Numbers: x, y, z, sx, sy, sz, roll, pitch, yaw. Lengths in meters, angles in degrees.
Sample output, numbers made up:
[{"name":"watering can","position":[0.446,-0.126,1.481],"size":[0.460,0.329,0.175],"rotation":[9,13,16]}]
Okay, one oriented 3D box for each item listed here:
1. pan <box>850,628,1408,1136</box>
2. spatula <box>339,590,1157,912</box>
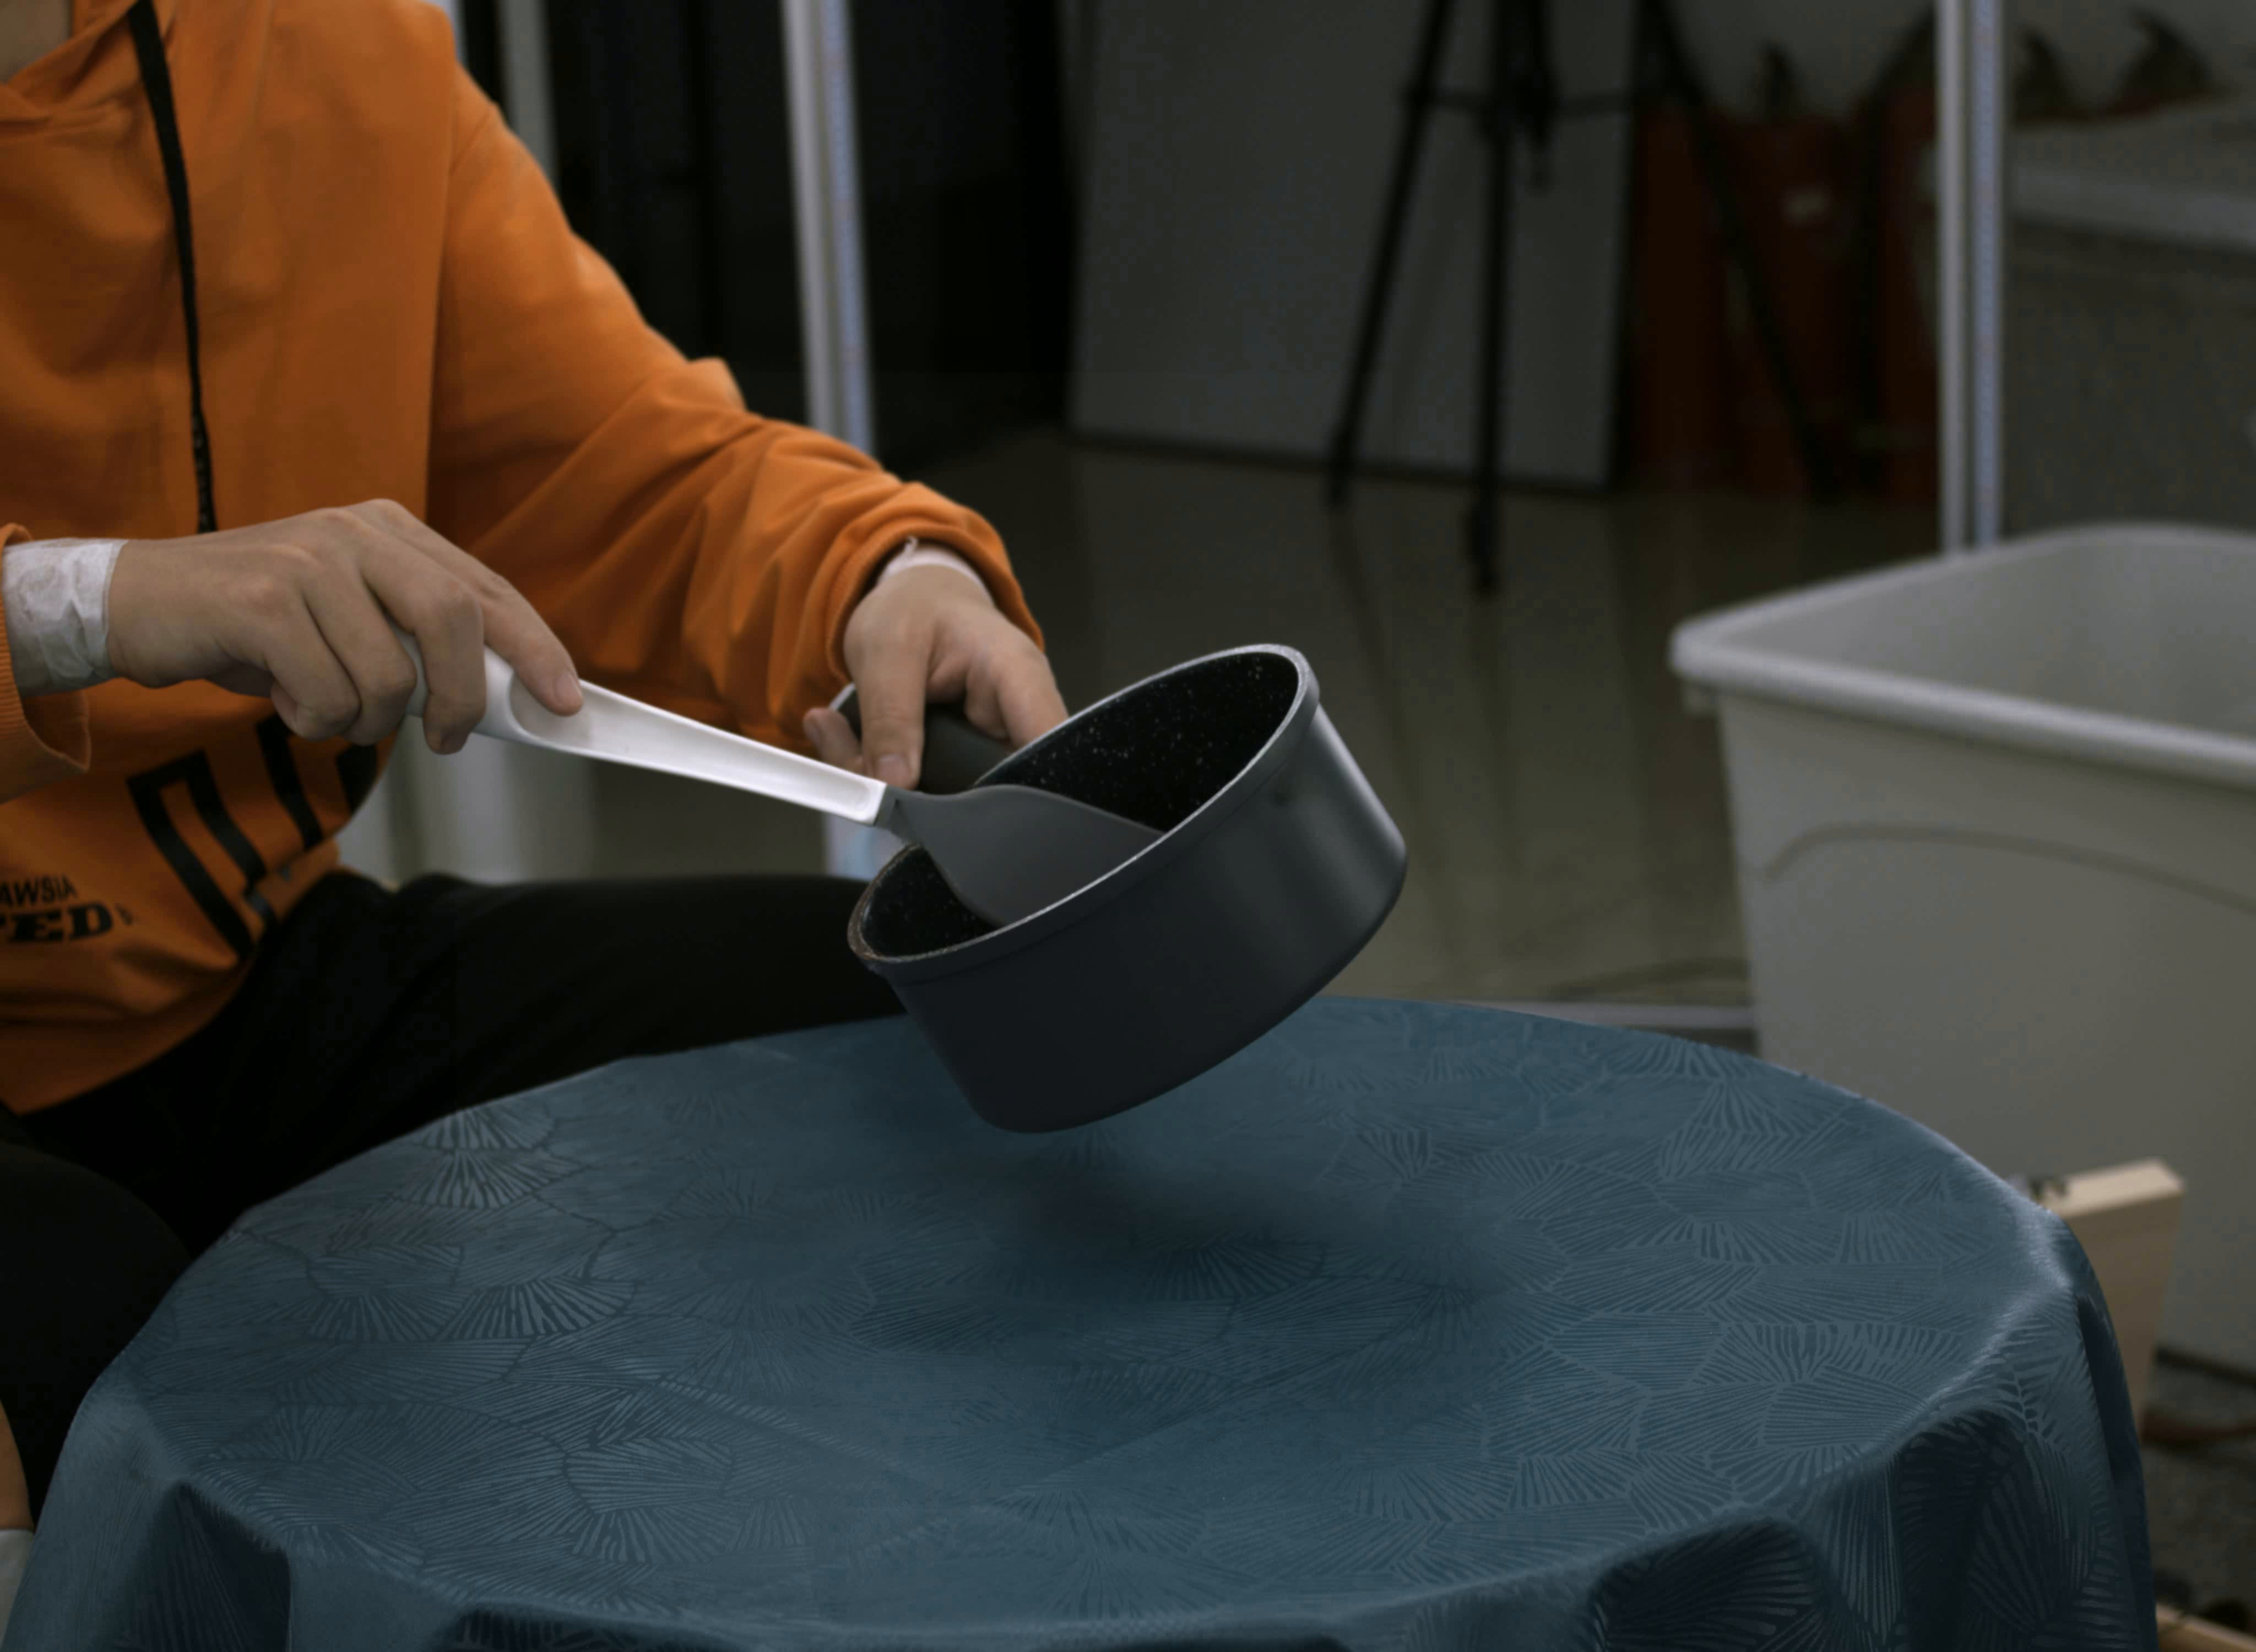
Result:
[{"name":"pan","position":[-0.022,0.006,1.779],"size":[0.170,0.086,0.331],"rotation":[-35,18,-8]},{"name":"spatula","position":[-0.113,-0.017,1.735],"size":[0.284,0.059,0.032],"rotation":[18,-25,0]}]
